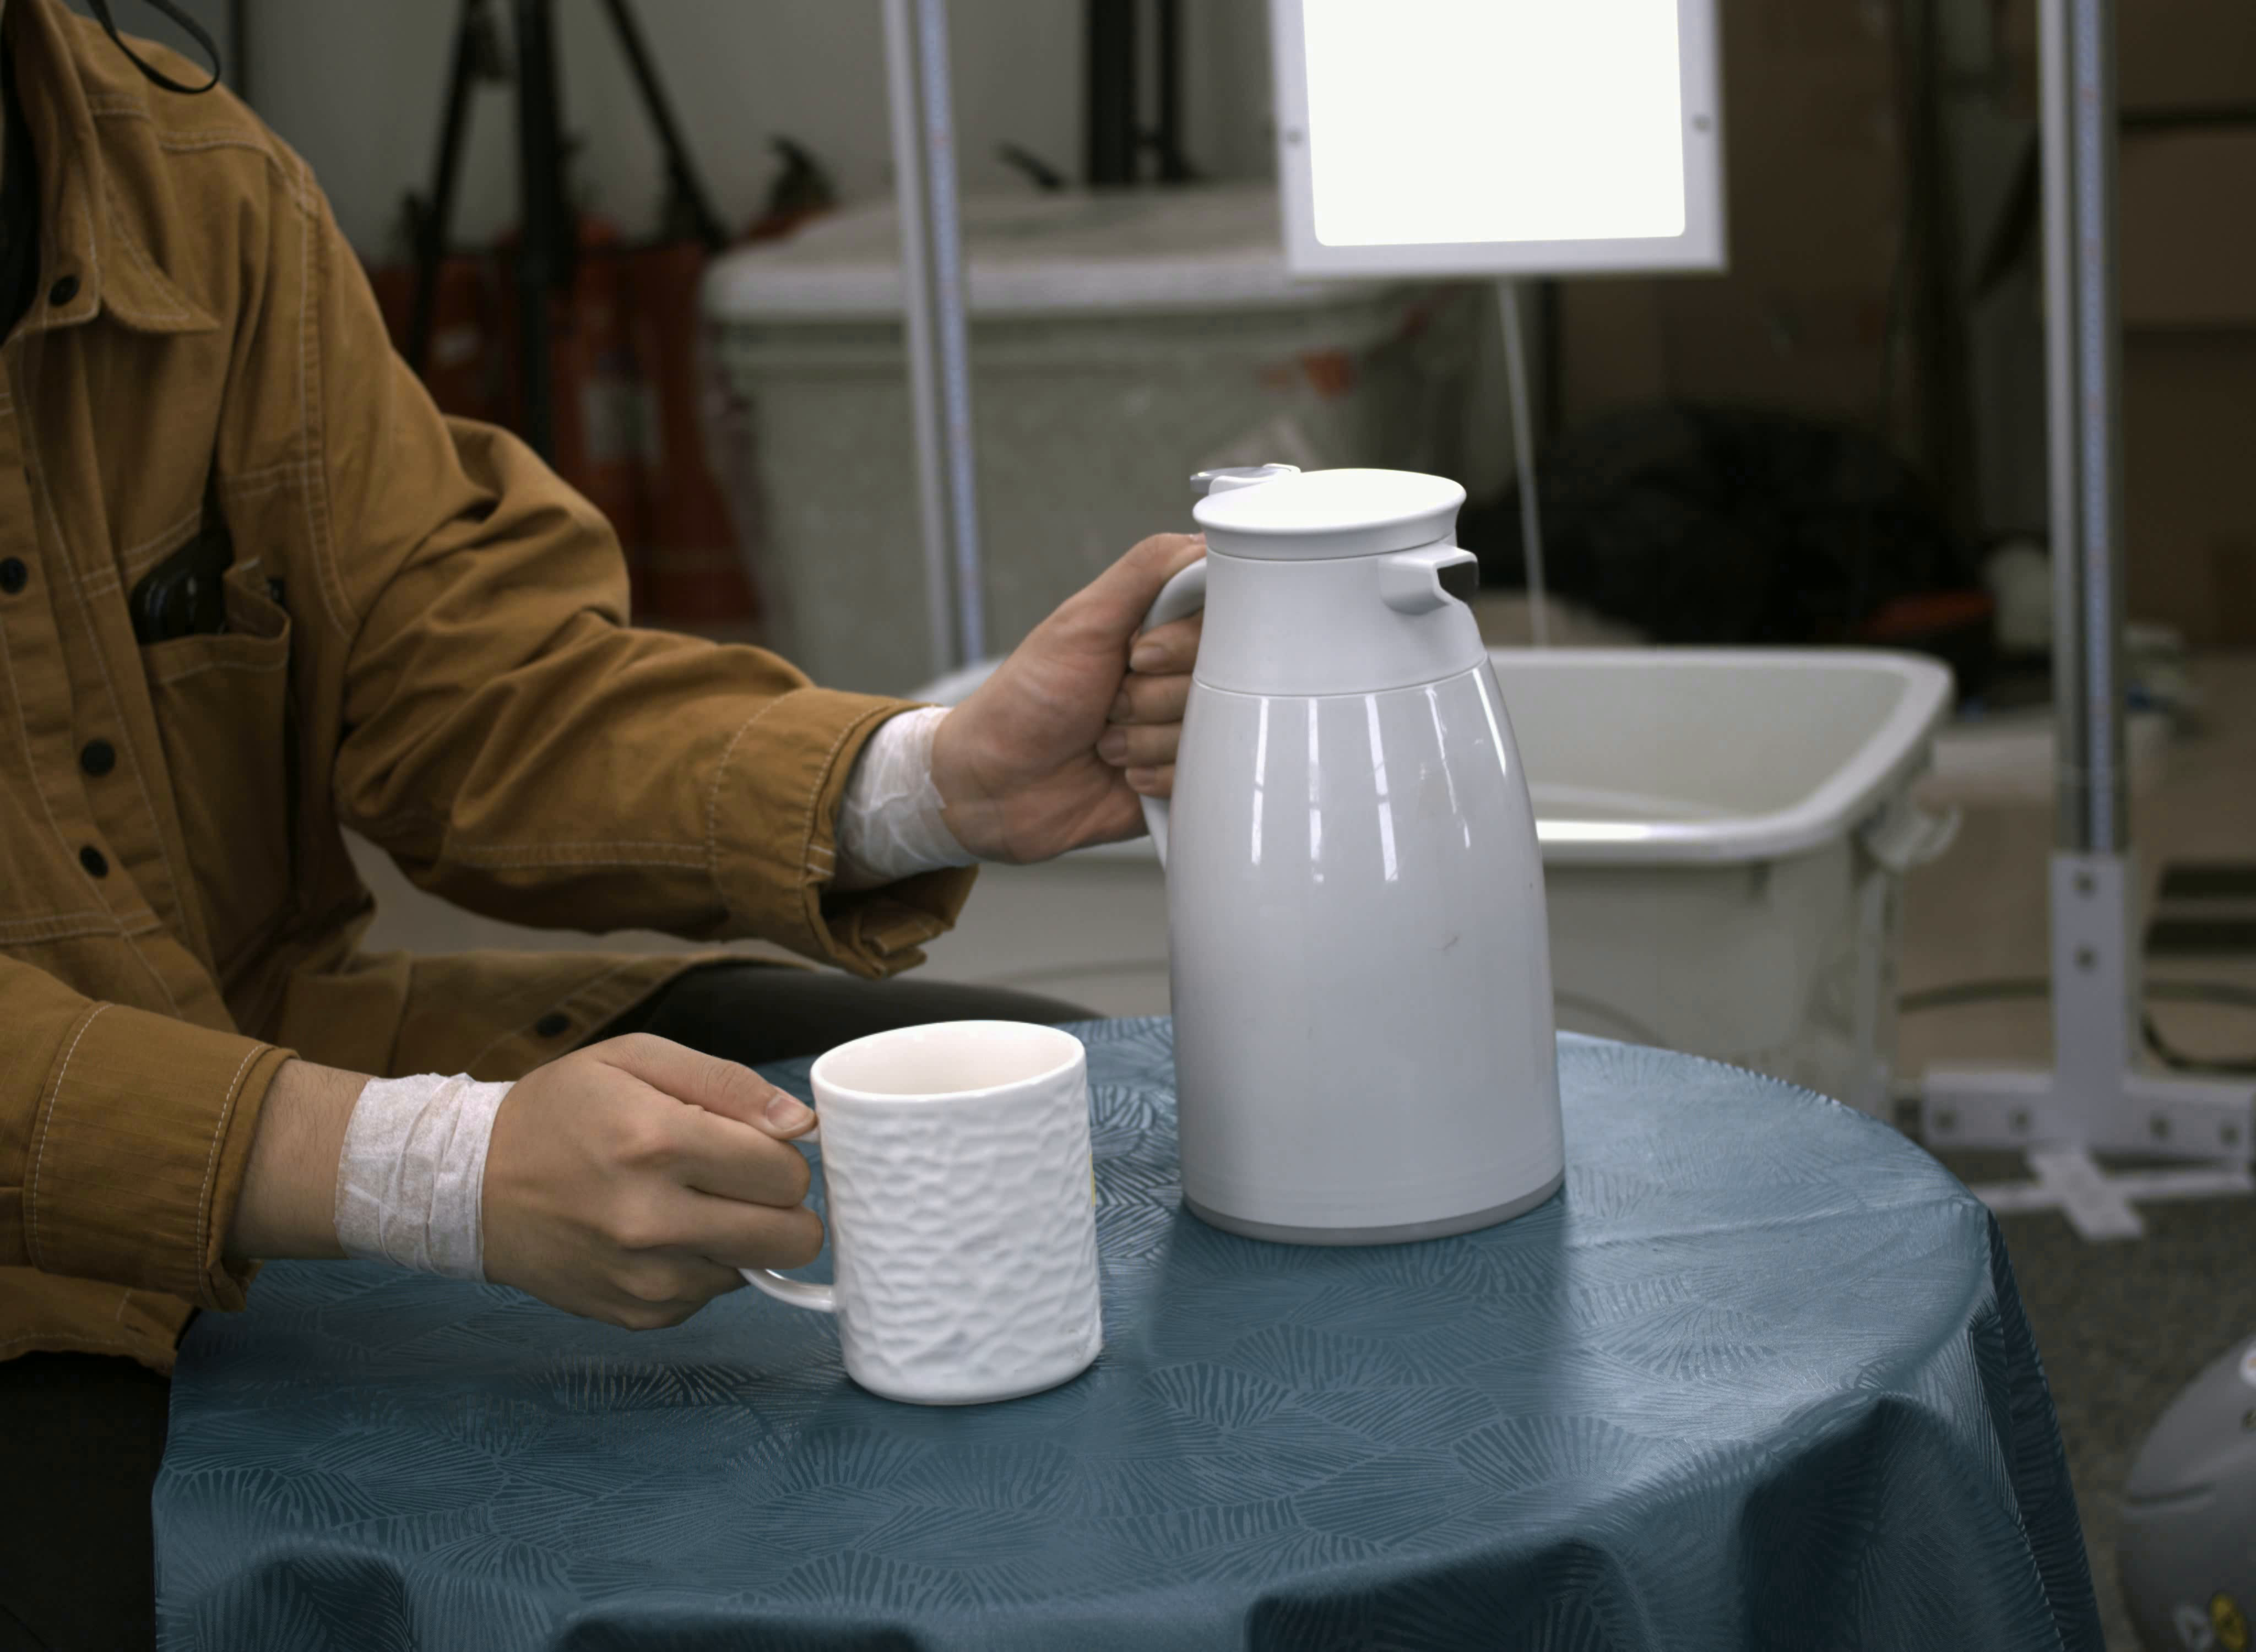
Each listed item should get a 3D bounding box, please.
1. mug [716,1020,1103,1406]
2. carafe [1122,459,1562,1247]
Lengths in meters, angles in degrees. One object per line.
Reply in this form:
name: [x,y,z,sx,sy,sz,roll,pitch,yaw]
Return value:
mug: [-0.069,0.123,1.727,0.118,0.102,0.085,-5,13,1]
carafe: [0.061,0.001,1.865,0.129,0.249,0.171,-16,18,-37]
